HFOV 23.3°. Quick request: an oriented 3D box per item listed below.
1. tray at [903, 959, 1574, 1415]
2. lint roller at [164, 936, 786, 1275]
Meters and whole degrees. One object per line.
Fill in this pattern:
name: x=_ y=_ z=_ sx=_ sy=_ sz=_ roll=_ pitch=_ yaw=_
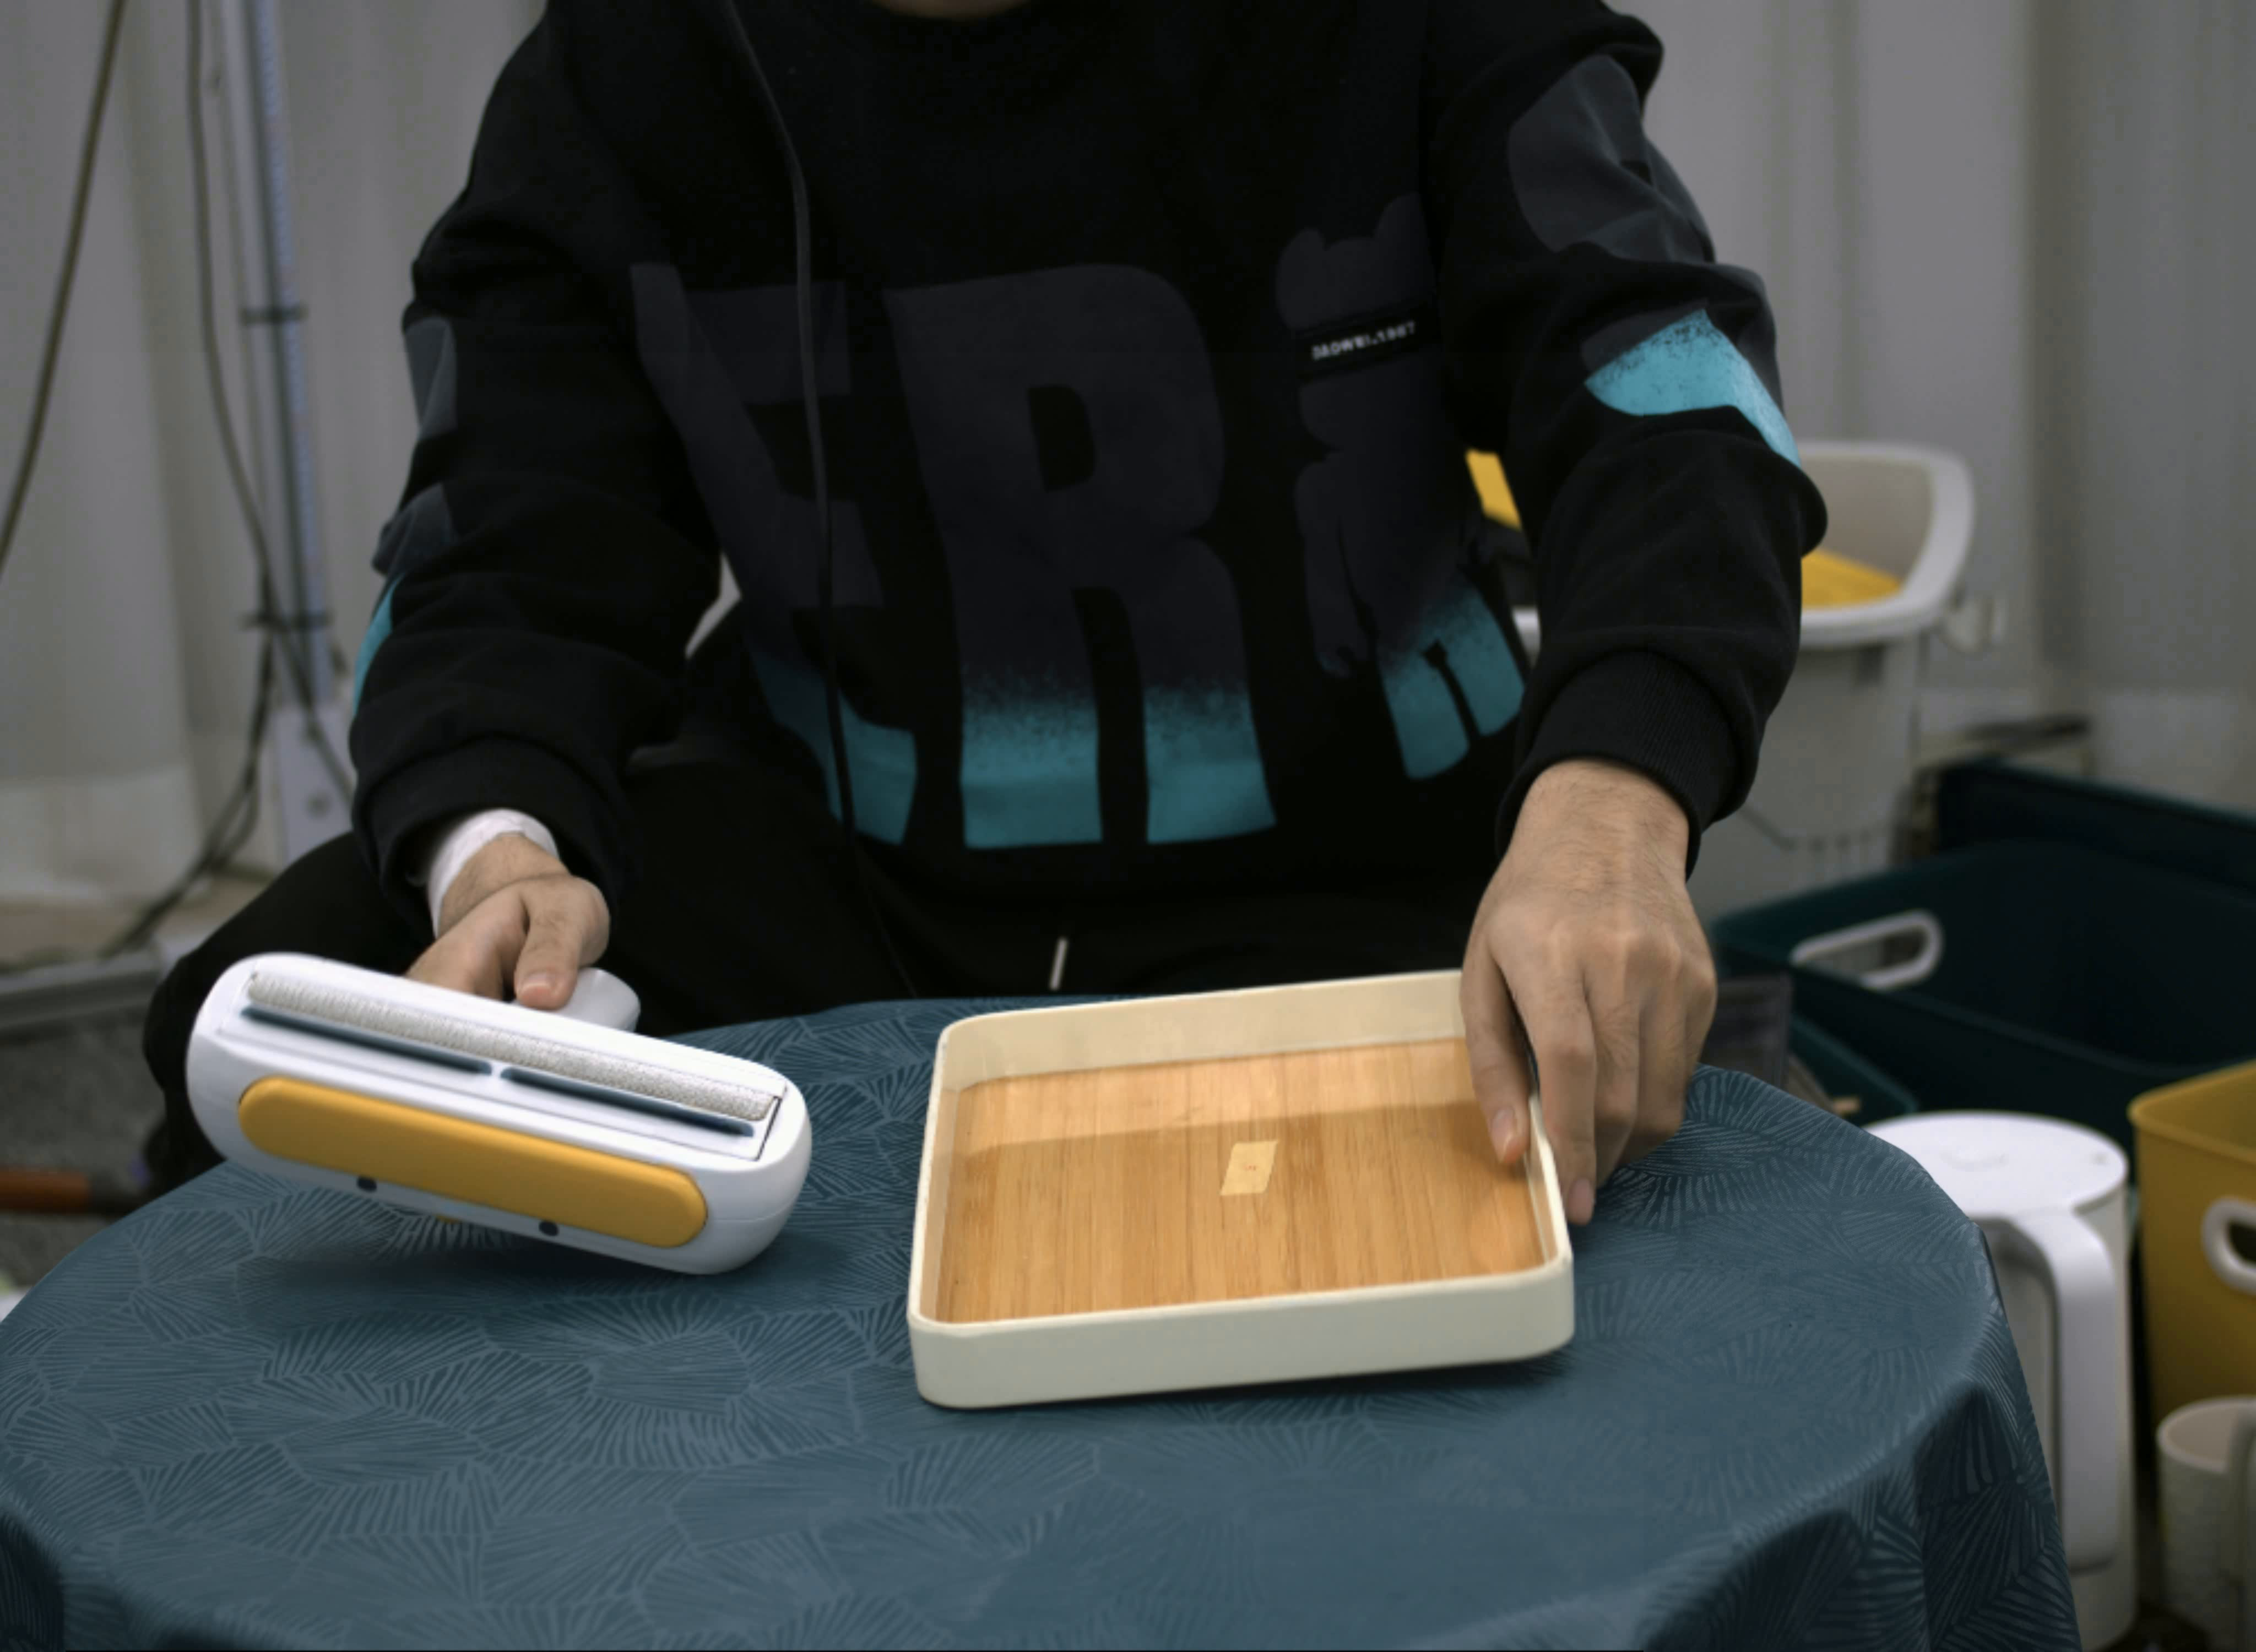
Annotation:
tray: x=0.032 y=0.105 z=1.670 sx=0.191 sy=0.027 sz=0.302 roll=-7 pitch=15 yaw=2
lint roller: x=-0.189 y=0.071 z=1.729 sx=0.192 sy=0.073 sz=0.194 roll=12 pitch=22 yaw=8
